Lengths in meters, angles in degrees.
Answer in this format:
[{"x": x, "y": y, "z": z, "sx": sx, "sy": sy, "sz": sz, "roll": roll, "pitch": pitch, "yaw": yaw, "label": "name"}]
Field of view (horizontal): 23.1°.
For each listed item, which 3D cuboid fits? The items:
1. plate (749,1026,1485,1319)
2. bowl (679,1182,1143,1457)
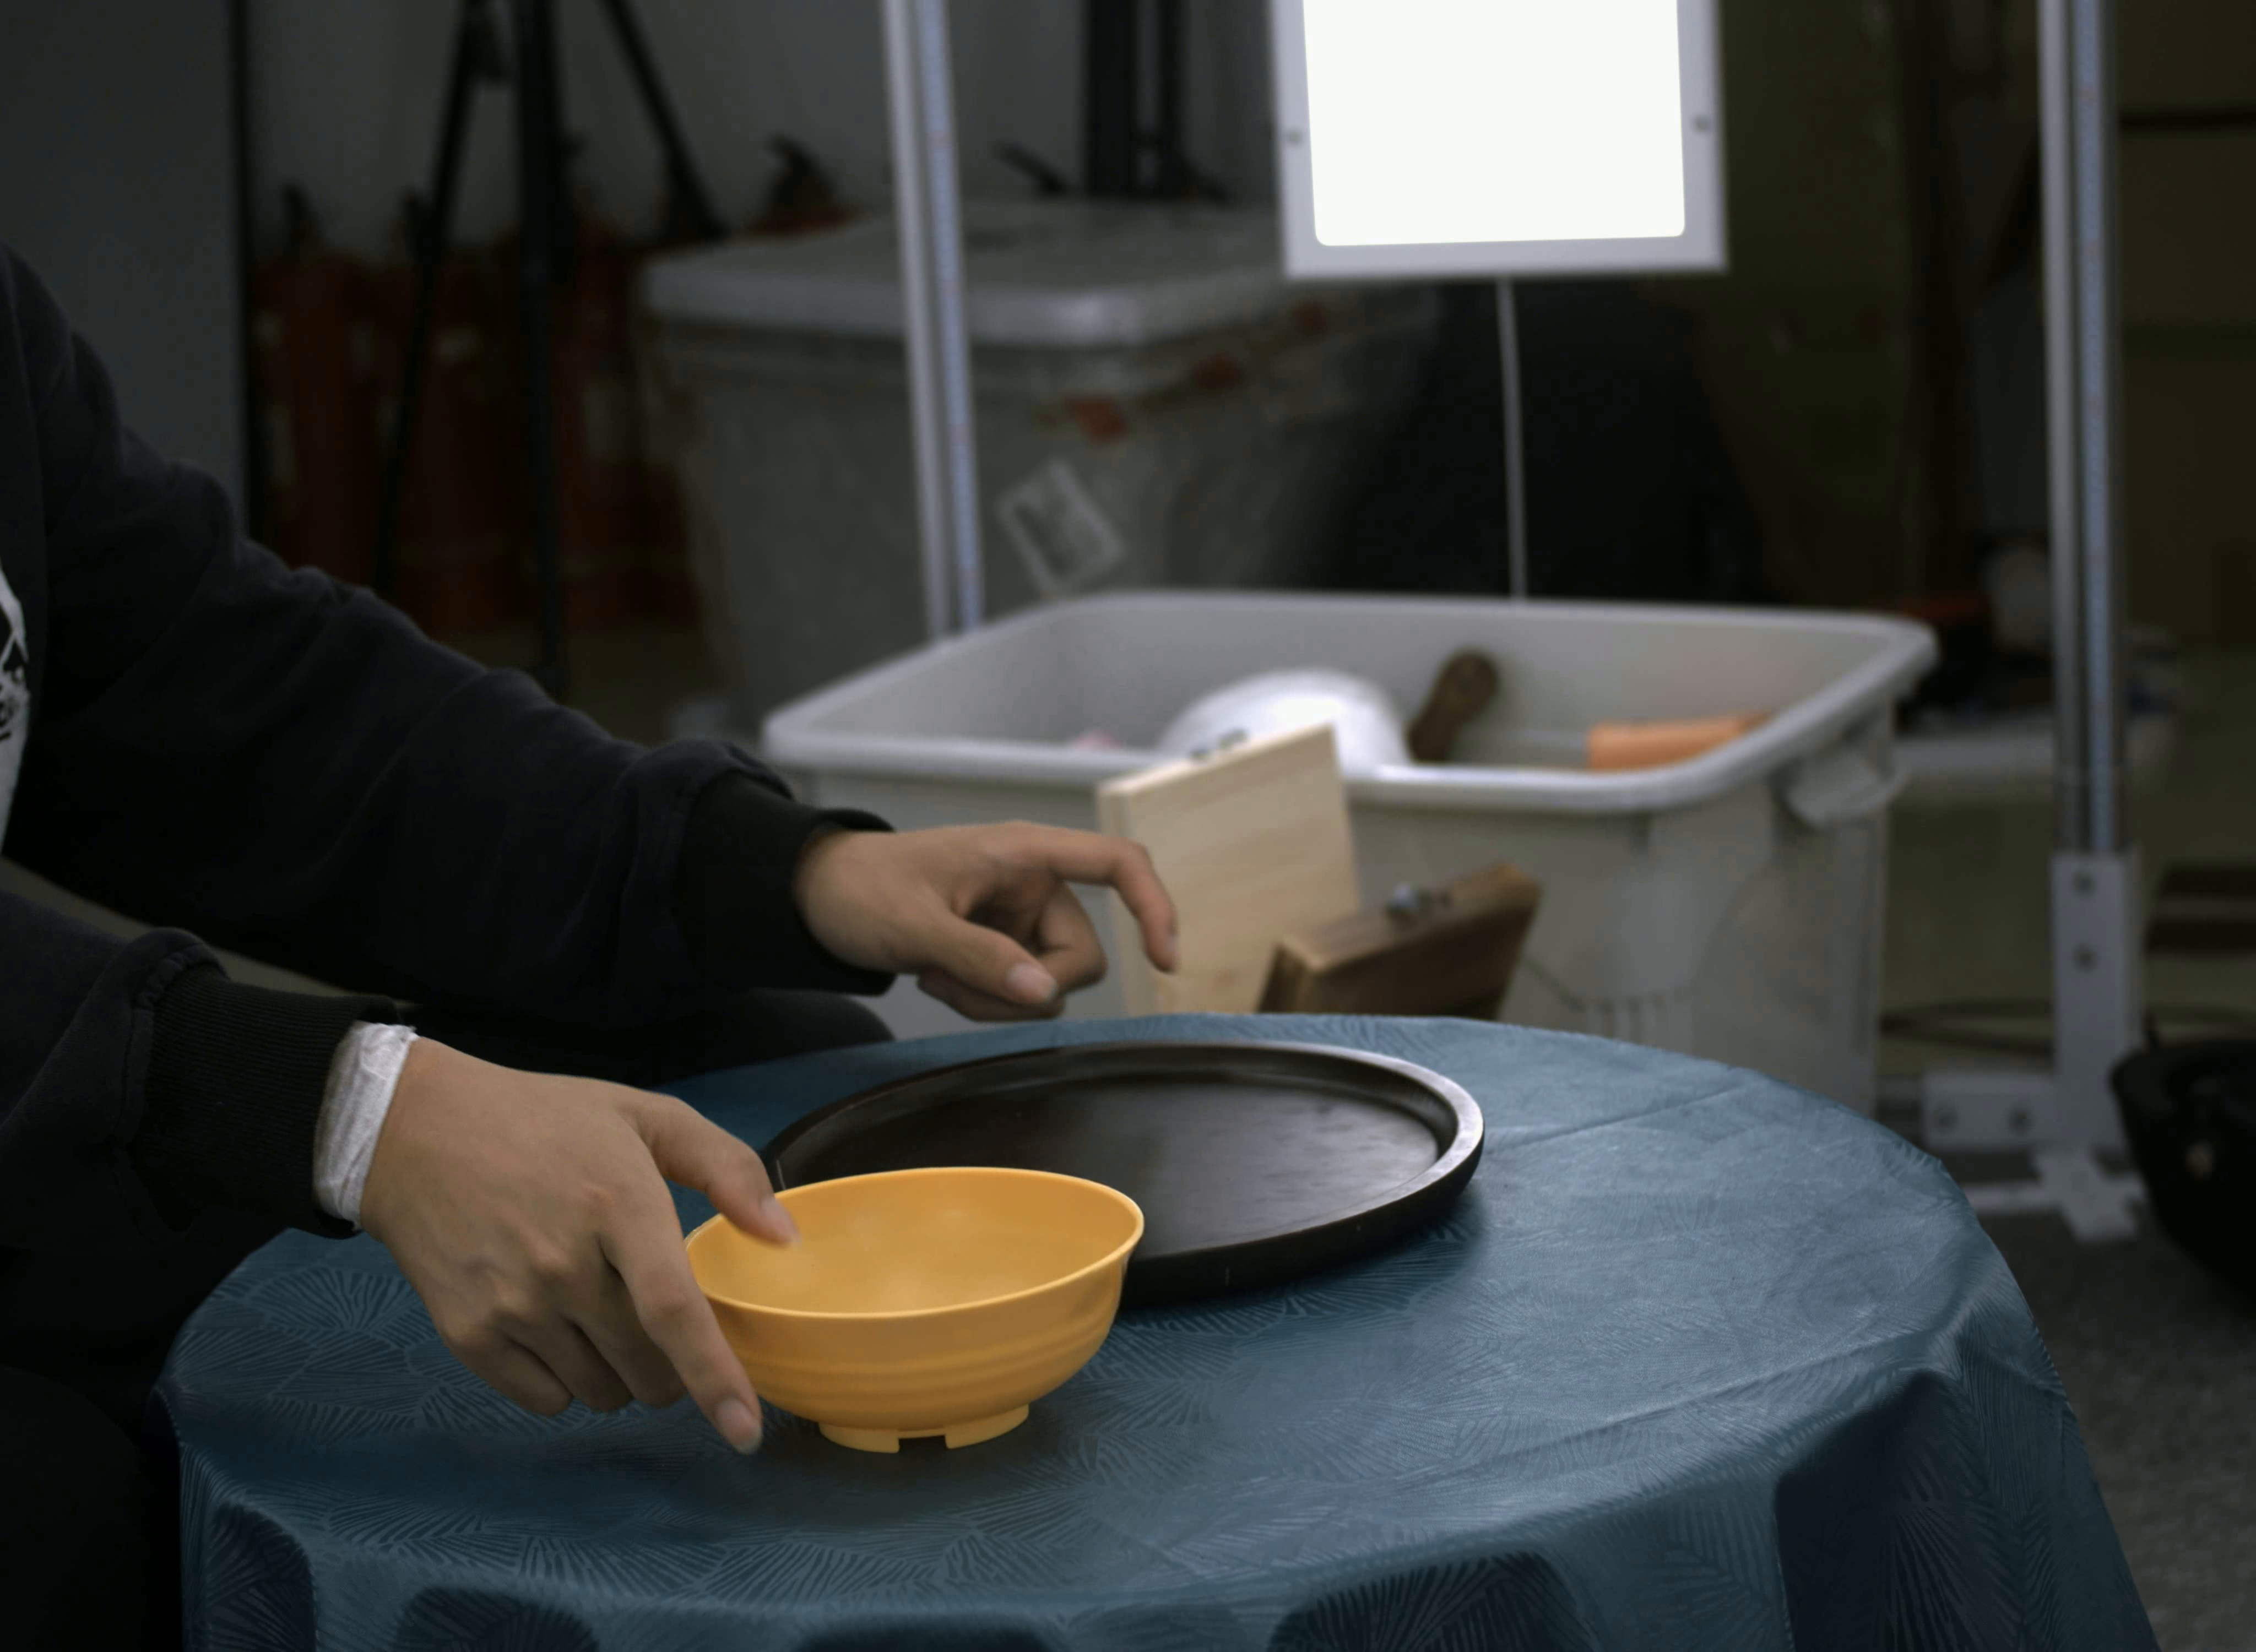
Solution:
[{"x": -0.003, "y": 0.118, "z": 1.886, "sx": 0.254, "sy": 0.029, "sz": 0.254, "roll": -6, "pitch": 15, "yaw": 0, "label": "plate"}, {"x": -0.063, "y": 0.155, "z": 1.687, "sx": 0.145, "sy": 0.060, "sz": 0.145, "roll": -6, "pitch": 11, "yaw": 0, "label": "bowl"}]
